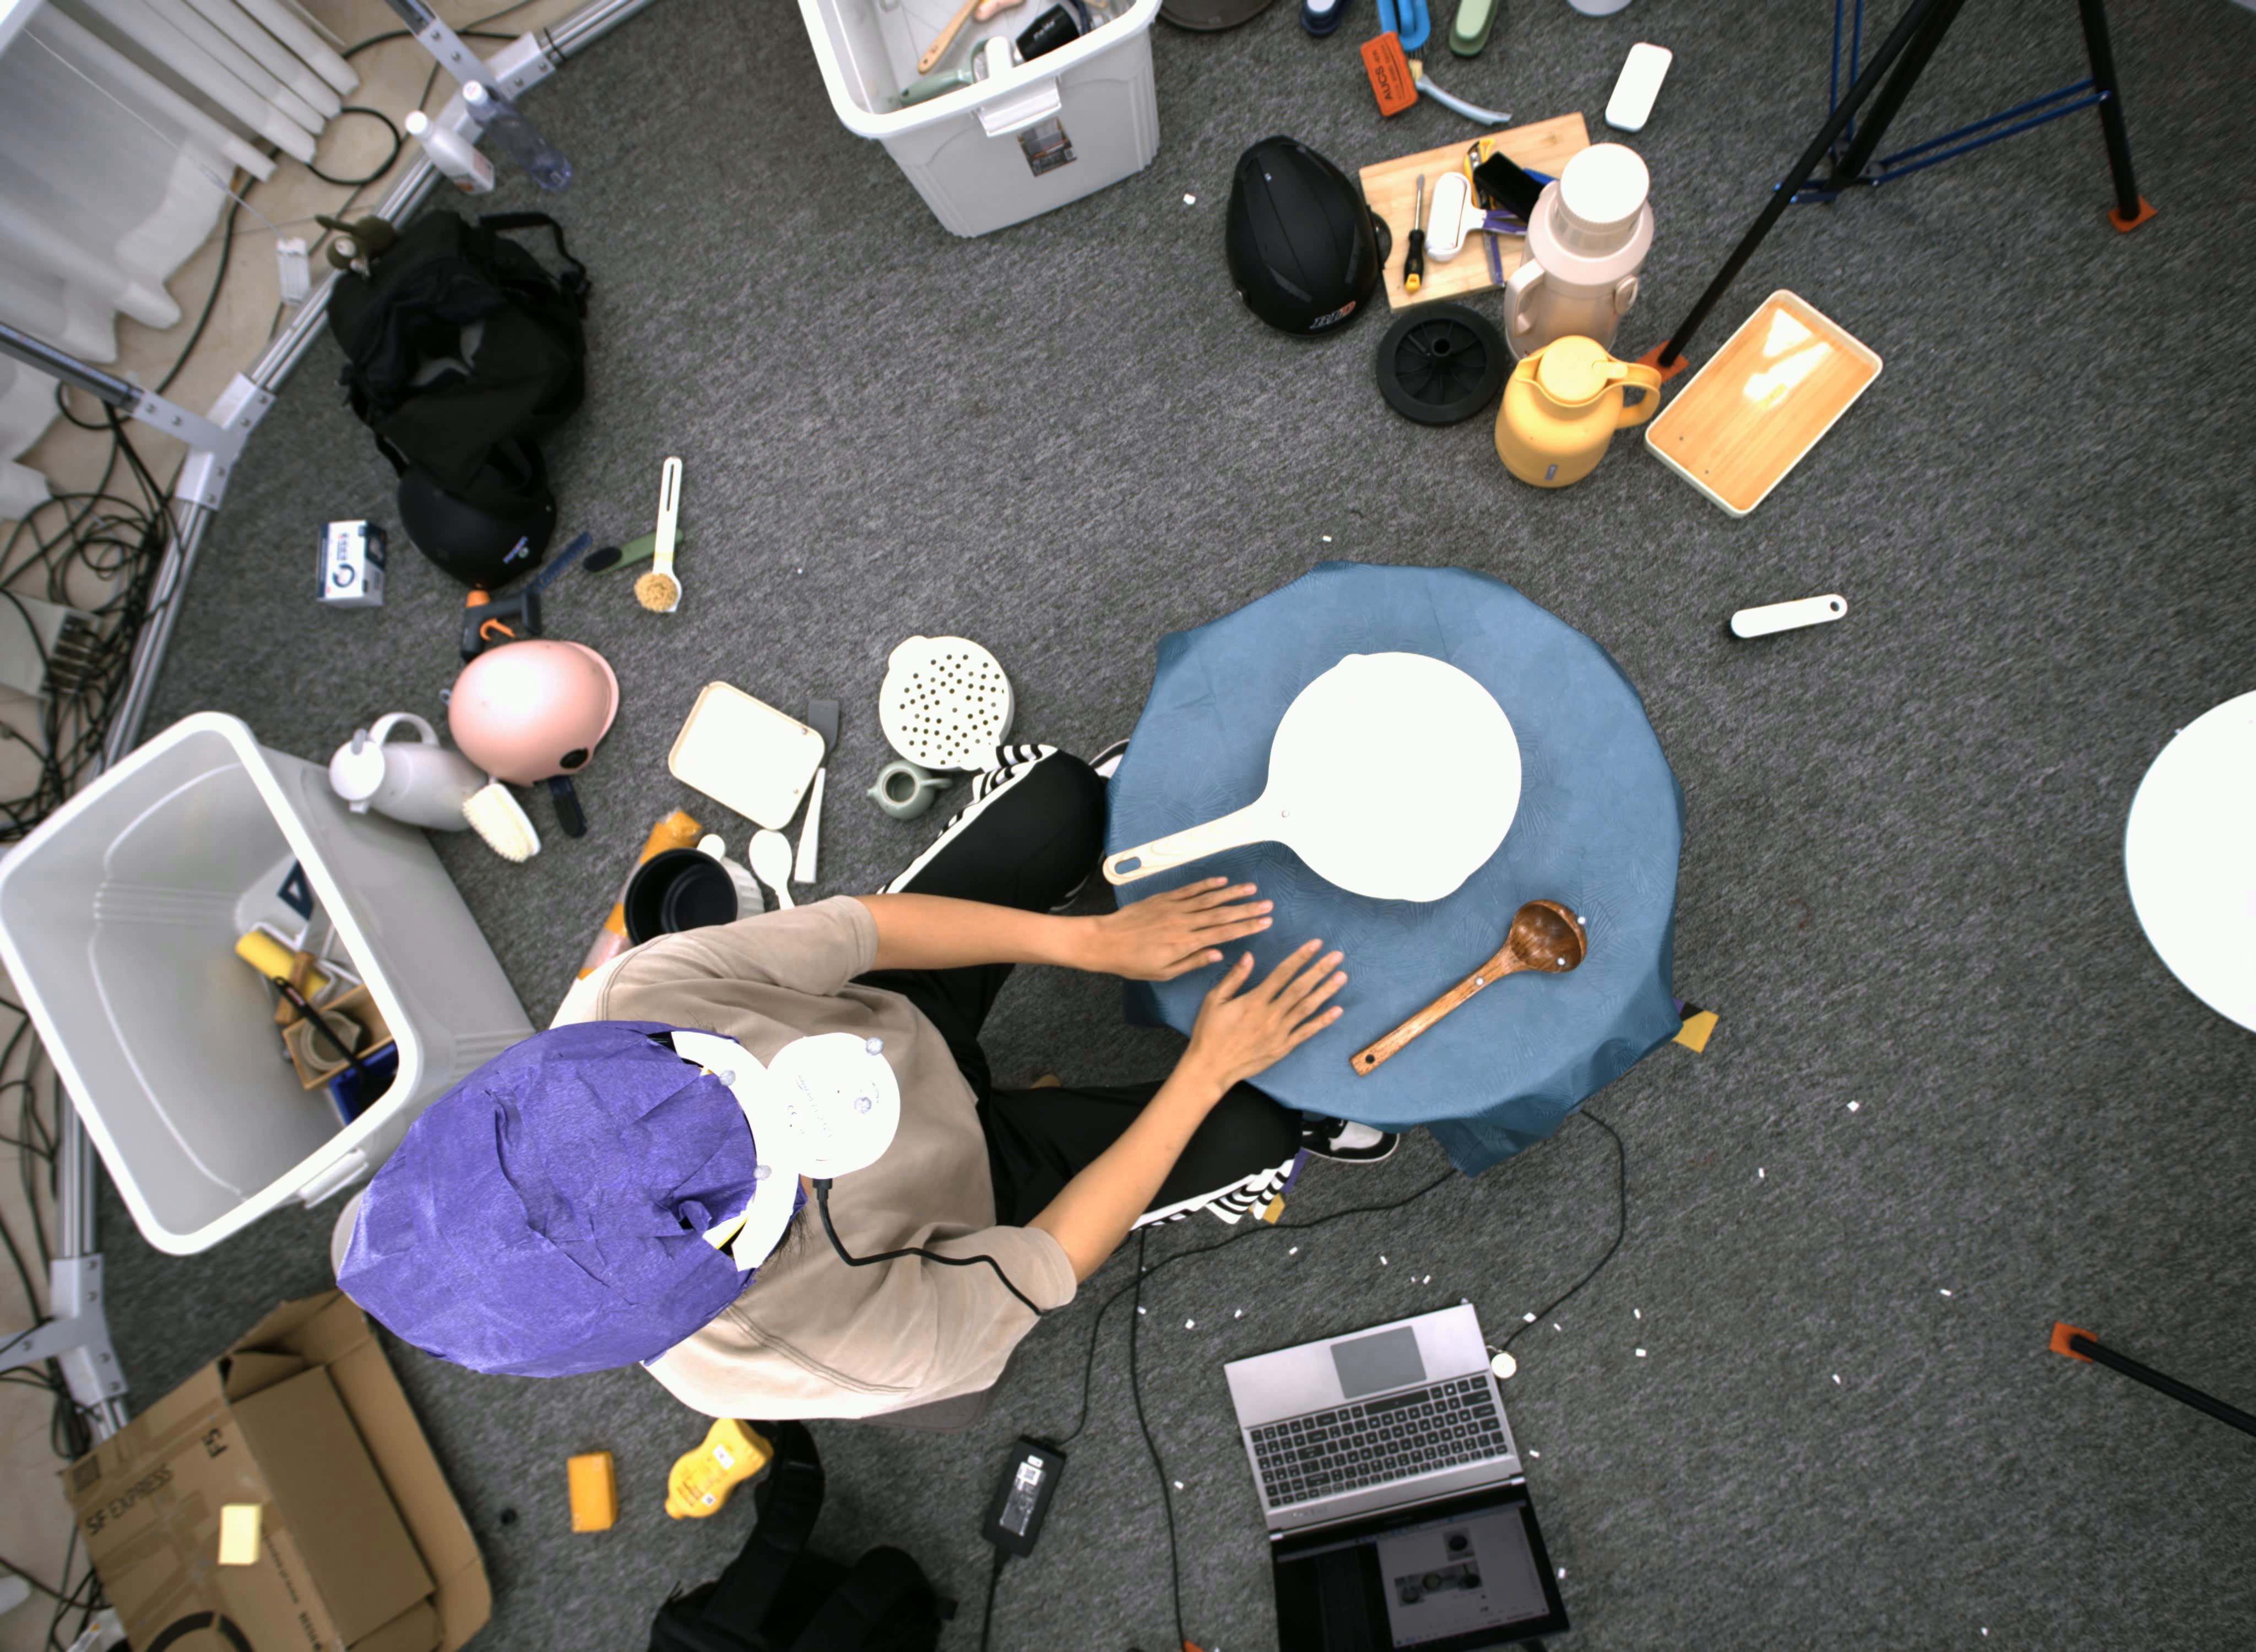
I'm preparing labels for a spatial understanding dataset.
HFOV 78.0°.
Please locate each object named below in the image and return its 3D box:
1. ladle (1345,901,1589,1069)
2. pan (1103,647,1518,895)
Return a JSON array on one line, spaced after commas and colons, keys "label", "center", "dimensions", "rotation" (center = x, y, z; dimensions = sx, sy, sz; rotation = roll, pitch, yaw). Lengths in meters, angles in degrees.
[{"label": "ladle", "center": [0.342, 0.170, 1.402], "dimensions": [0.275, 0.076, 0.081], "rotation": [-34, 83, 6]}, {"label": "pan", "center": [0.184, -0.023, 1.432], "dimensions": [0.437, 0.102, 0.262], "rotation": [-20, 84, 9]}]
